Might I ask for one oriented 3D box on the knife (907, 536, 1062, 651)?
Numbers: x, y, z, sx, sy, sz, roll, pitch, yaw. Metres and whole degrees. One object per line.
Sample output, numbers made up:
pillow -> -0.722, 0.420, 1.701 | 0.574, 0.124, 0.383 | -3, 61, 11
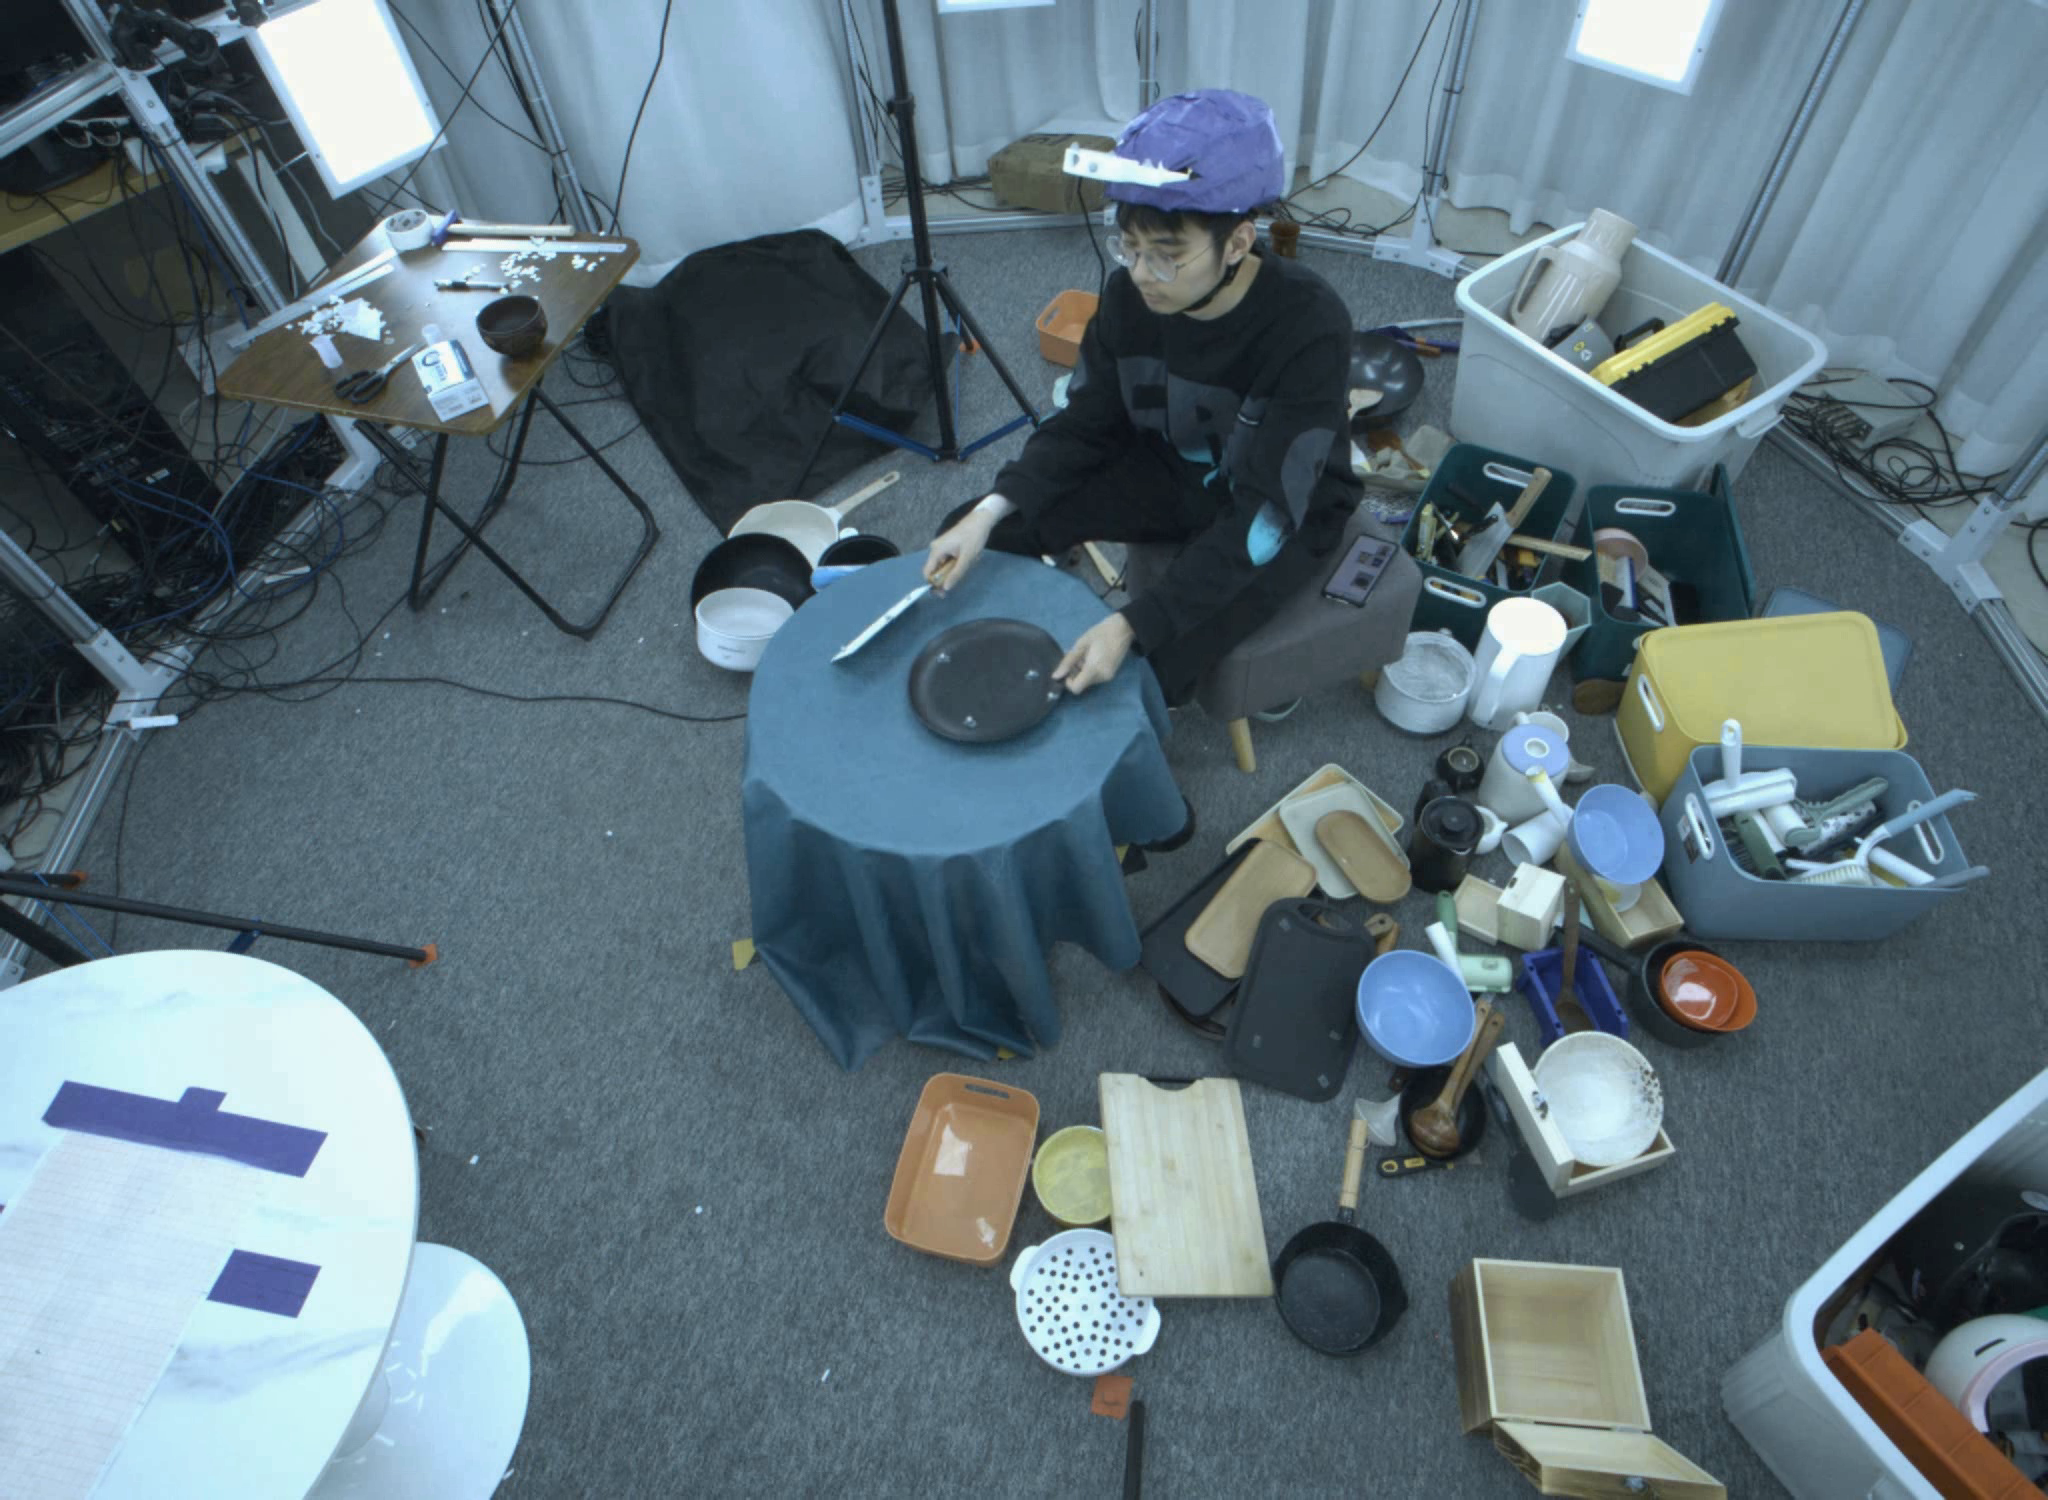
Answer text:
knife -> -0.065, -0.244, 1.920 | 0.308, 0.091, 0.021 | -41, 107, -25

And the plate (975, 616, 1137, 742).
plate -> 0.048, -0.104, 1.837 | 0.243, 0.024, 0.242 | -3, 53, 5
